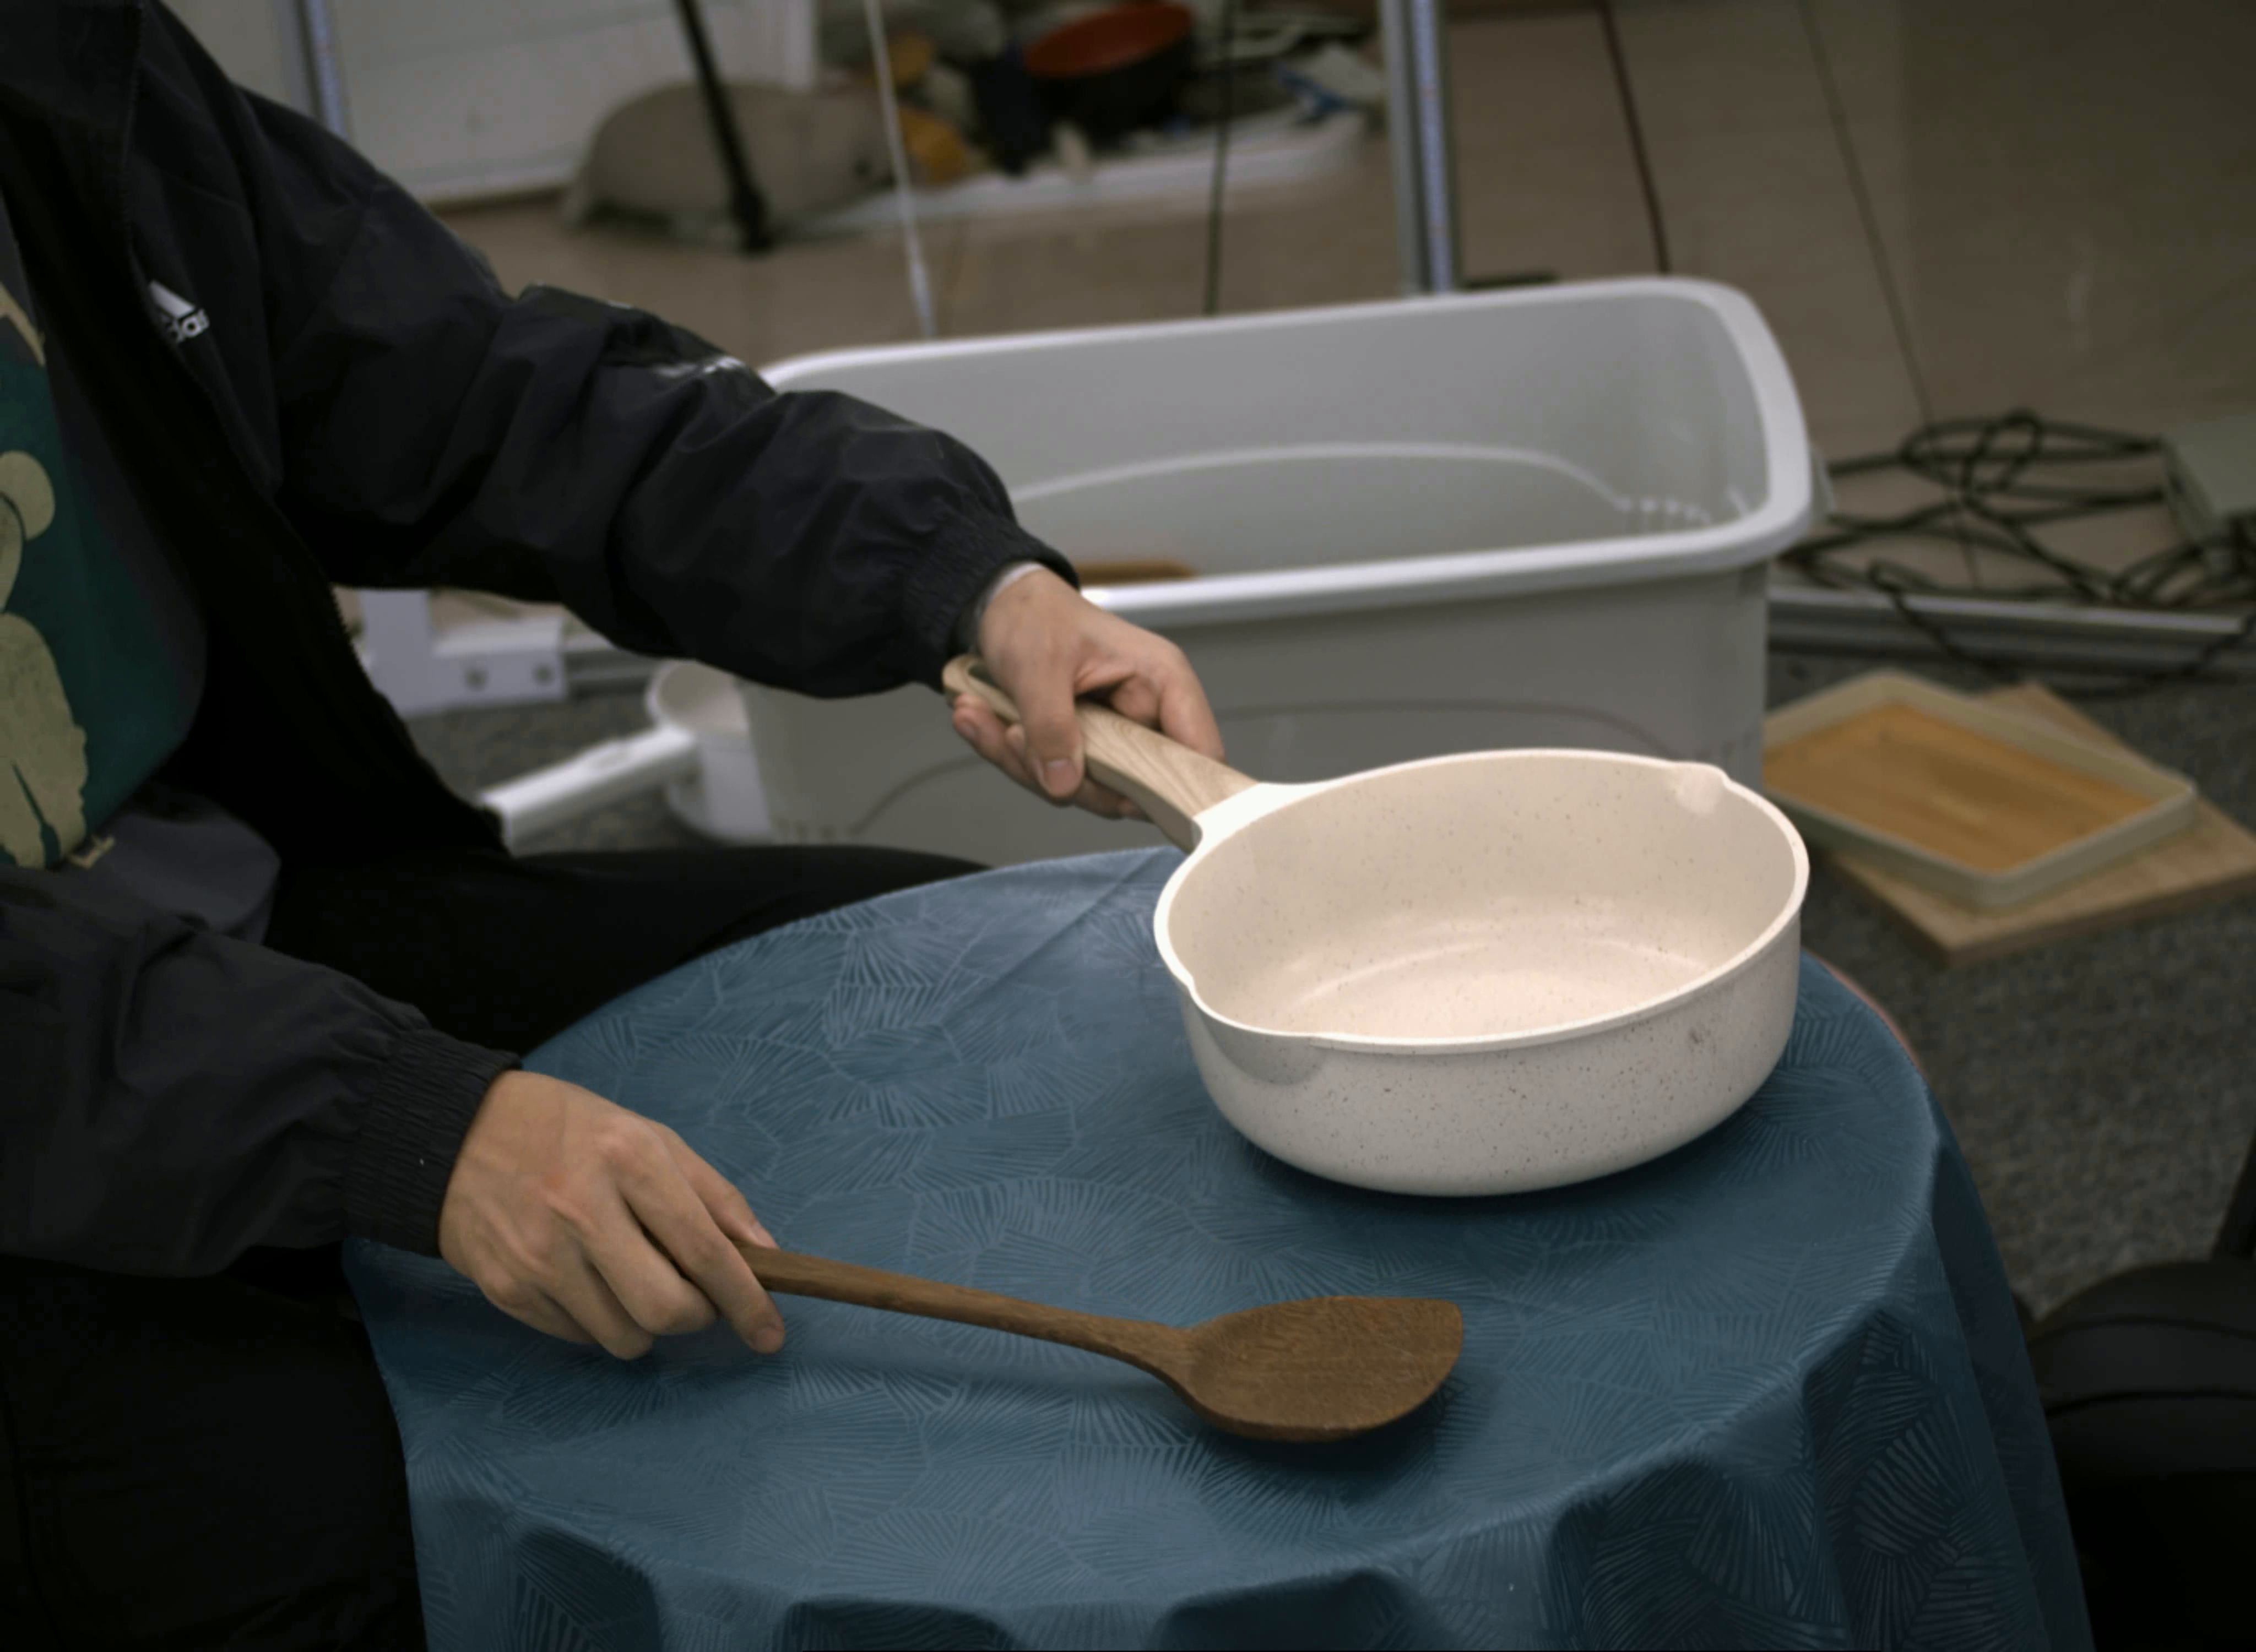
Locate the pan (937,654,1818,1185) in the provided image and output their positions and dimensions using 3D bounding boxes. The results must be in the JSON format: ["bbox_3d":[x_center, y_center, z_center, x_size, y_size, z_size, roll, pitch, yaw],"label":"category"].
[{"bbox_3d":[0.080,0.025,2.235,0.261,0.103,0.431,-29,32,-33],"label":"pan"}]

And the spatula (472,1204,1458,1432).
[{"bbox_3d":[-0.068,0.169,2.033,0.384,0.016,0.095,7,27,23],"label":"spatula"}]
